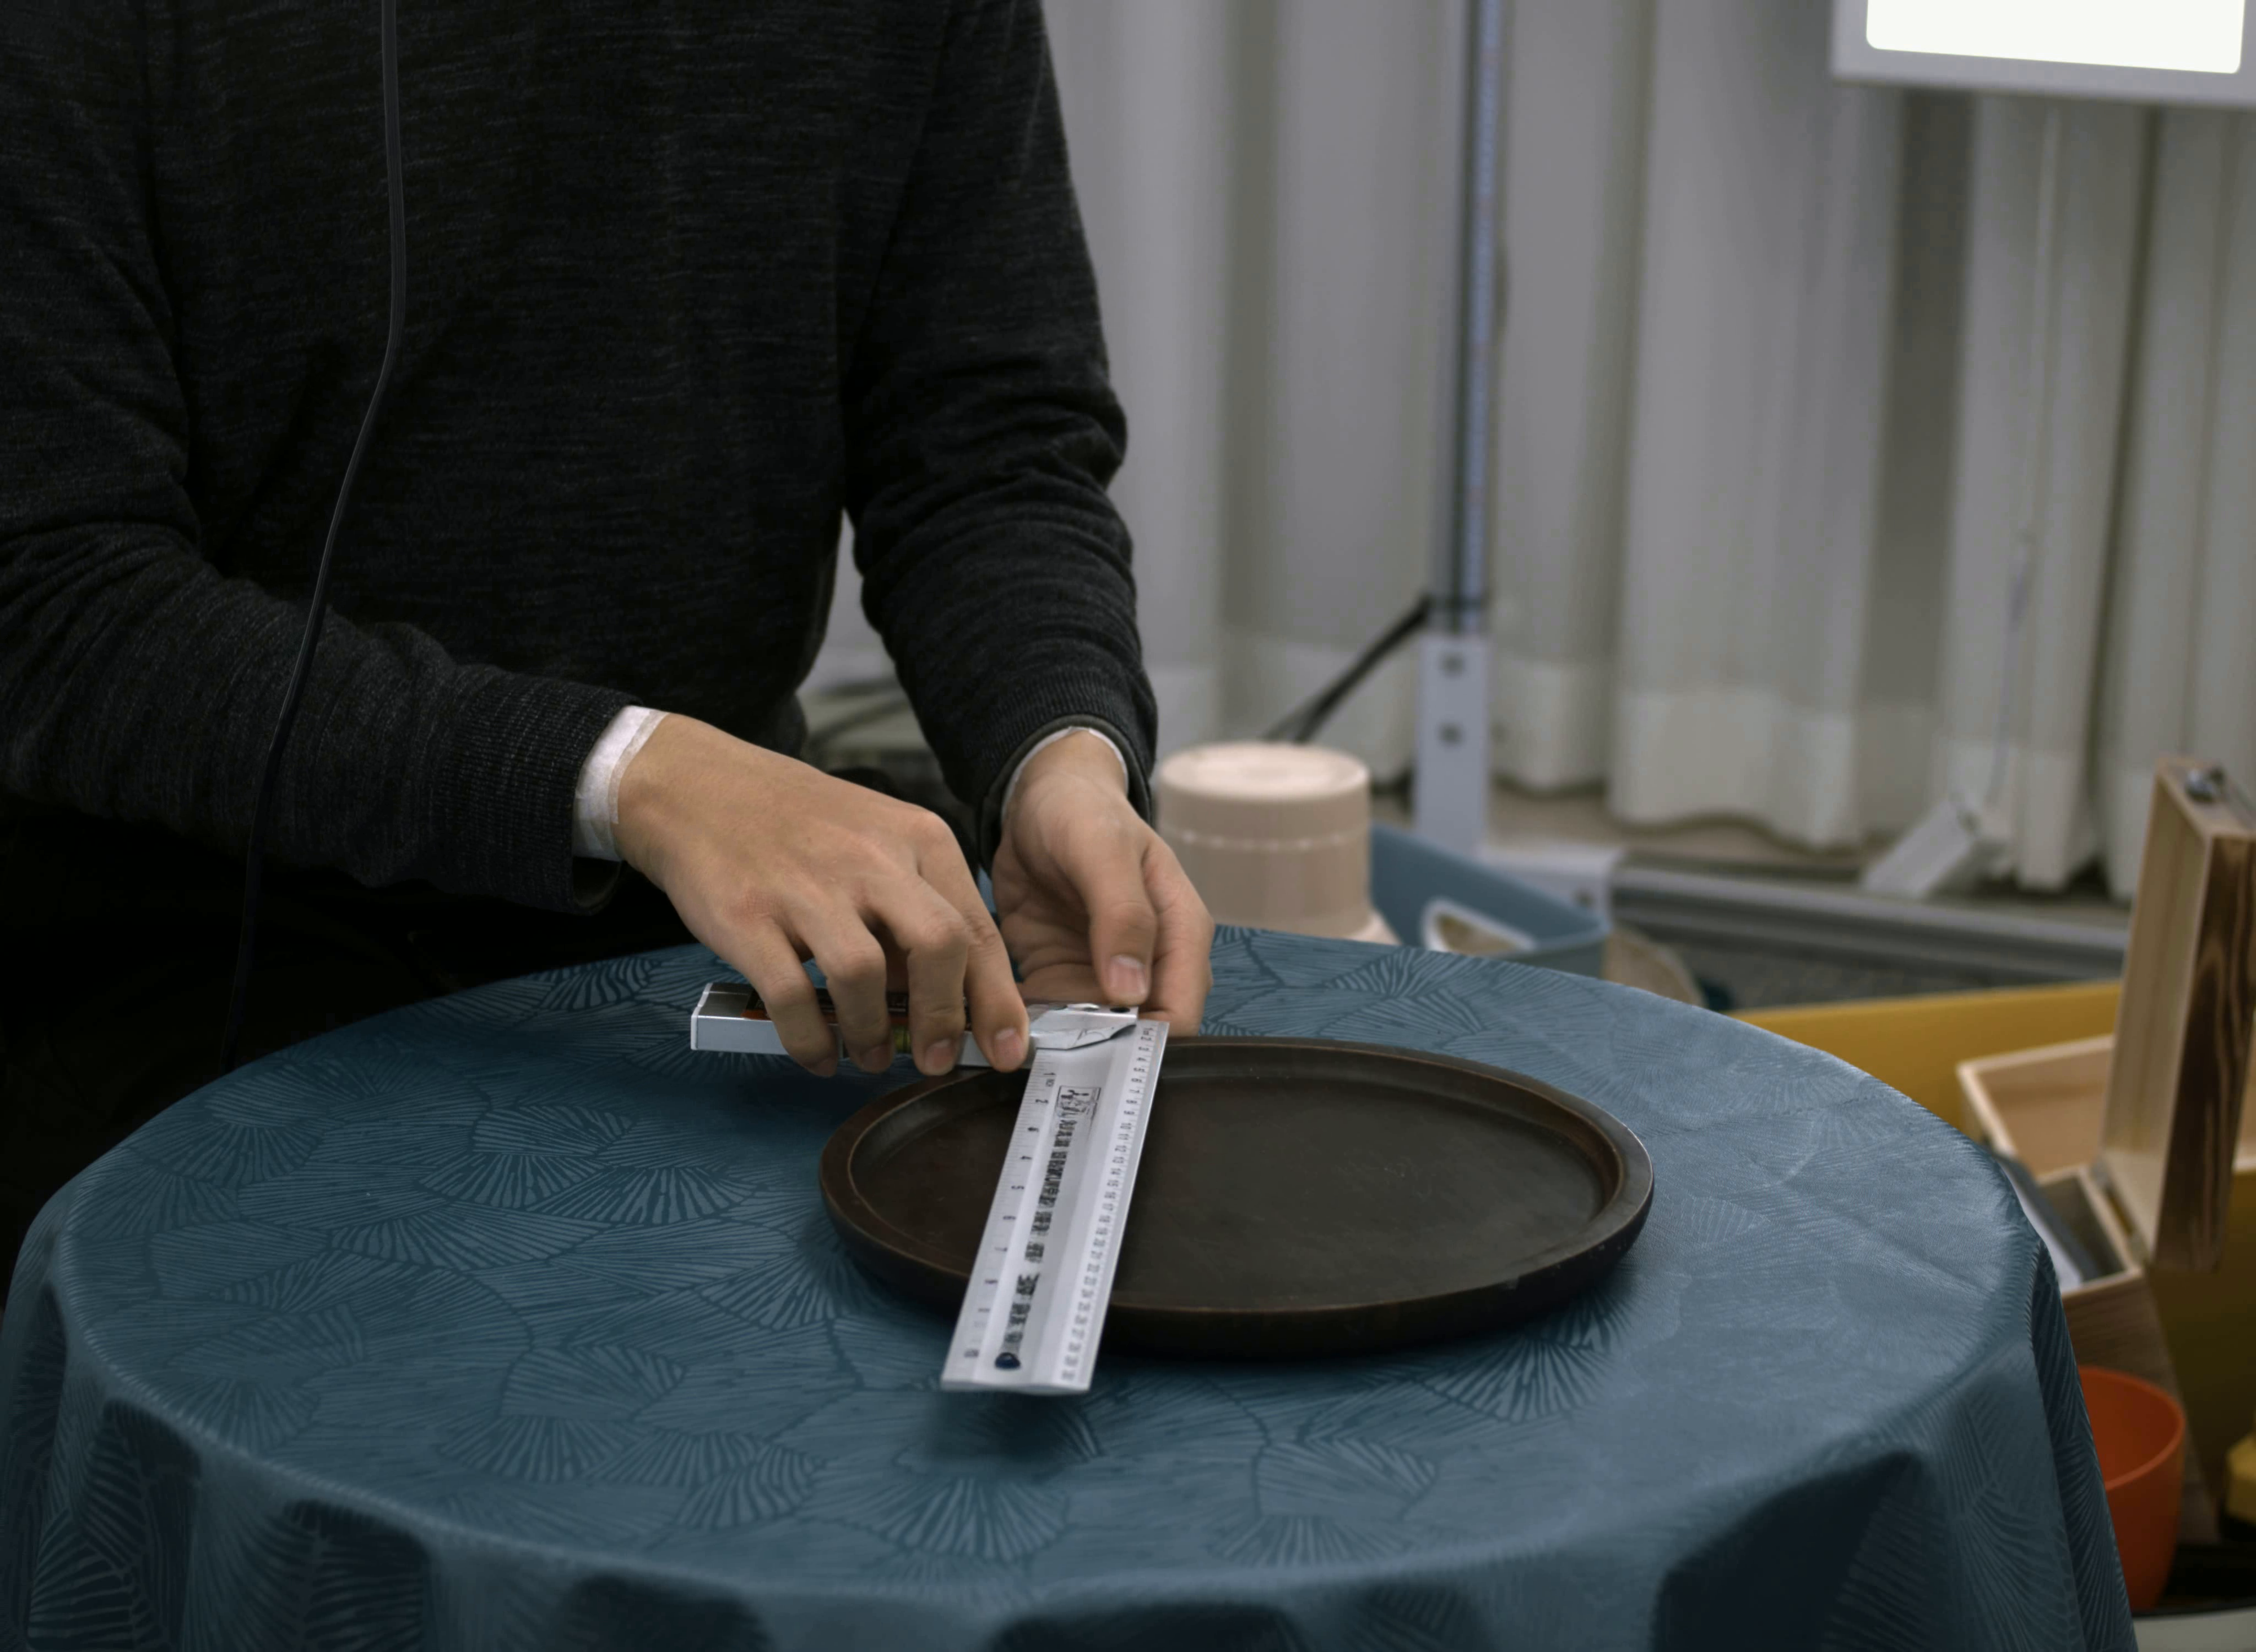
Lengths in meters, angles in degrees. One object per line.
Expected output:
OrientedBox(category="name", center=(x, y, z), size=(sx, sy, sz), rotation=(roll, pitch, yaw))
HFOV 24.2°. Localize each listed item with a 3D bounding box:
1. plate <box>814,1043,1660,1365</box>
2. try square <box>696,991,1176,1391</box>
OrientedBox(category="plate", center=(0.033, 0.110, 1.585), size=(0.254, 0.029, 0.253), rotation=(1, 16, 0))
OrientedBox(category="try square", center=(-0.072, 0.104, 1.556), size=(0.151, 0.016, 0.311), rotation=(2, 16, 4))
